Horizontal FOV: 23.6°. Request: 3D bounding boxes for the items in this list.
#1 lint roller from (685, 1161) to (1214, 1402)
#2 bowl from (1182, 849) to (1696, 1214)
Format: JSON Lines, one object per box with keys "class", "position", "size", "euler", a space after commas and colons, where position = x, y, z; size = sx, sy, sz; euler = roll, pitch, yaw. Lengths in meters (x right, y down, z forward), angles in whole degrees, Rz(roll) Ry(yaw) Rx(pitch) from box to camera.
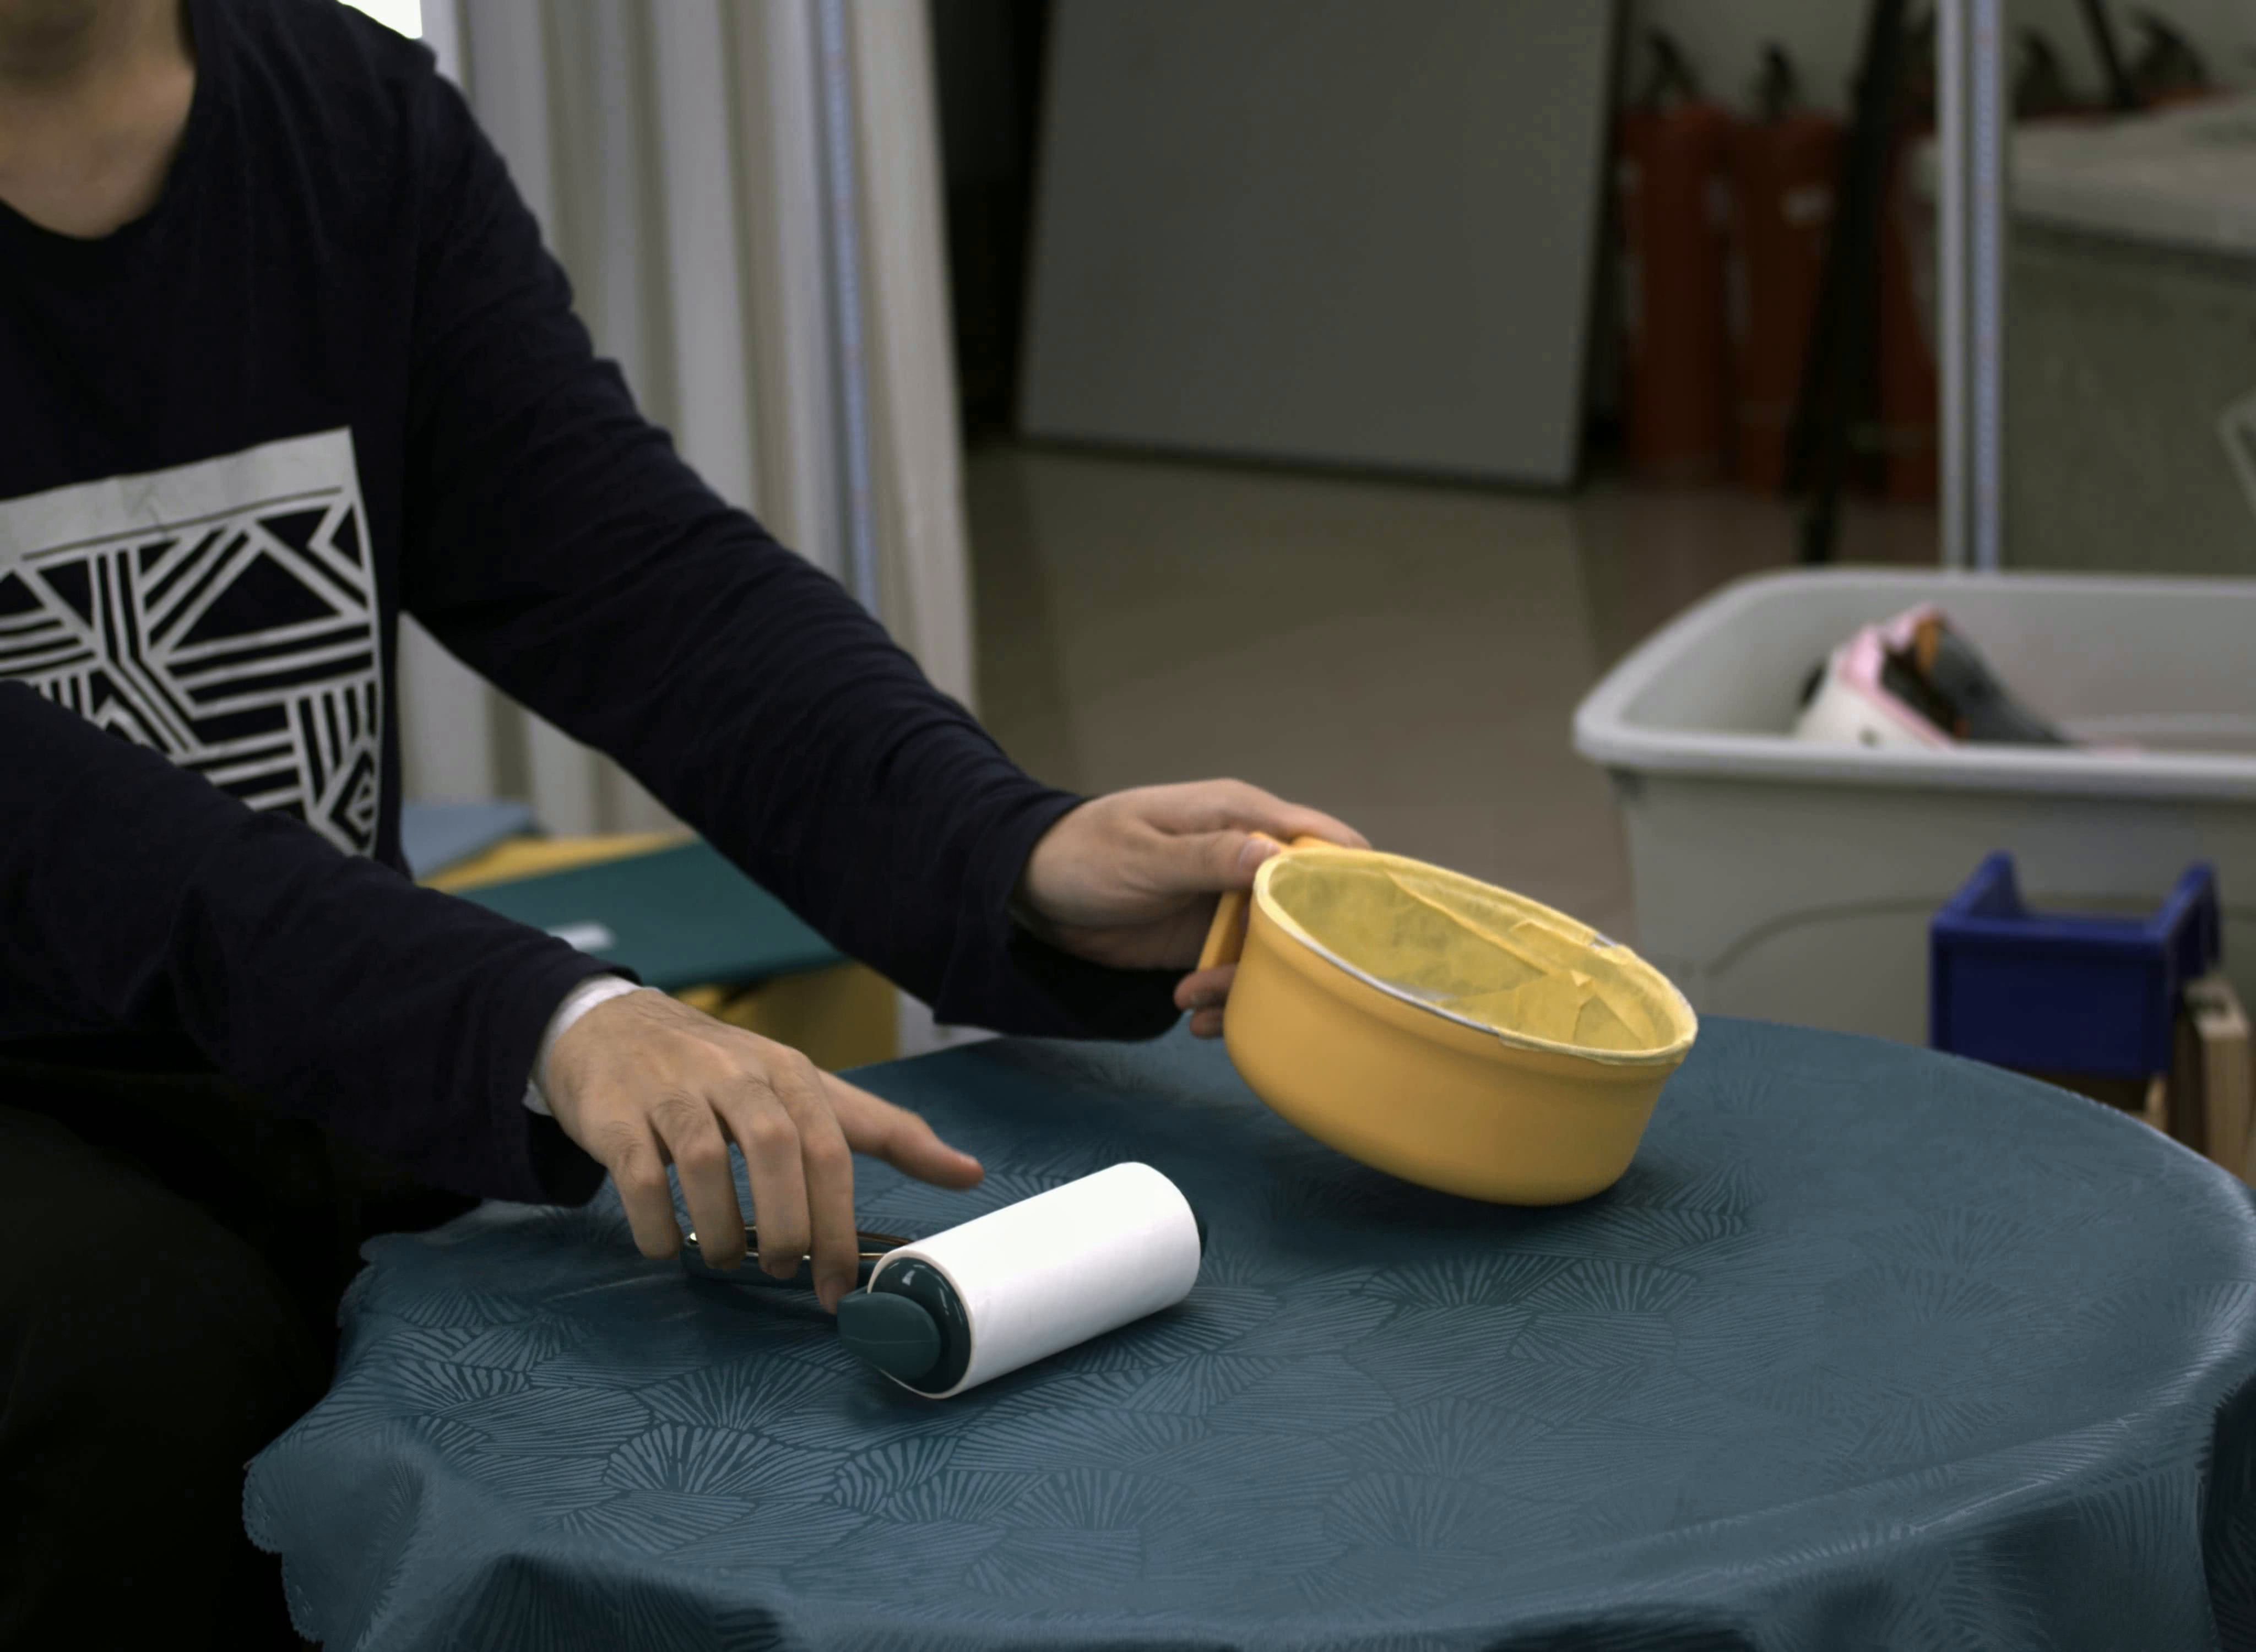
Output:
{"class": "lint roller", "position": [-0.076, 0.134, 1.667], "size": [0.182, 0.049, 0.131], "euler": [3, 15, 45]}
{"class": "bowl", "position": [0.094, 0.066, 1.757], "size": [0.181, 0.075, 0.150], "euler": [31, 21, 37]}
